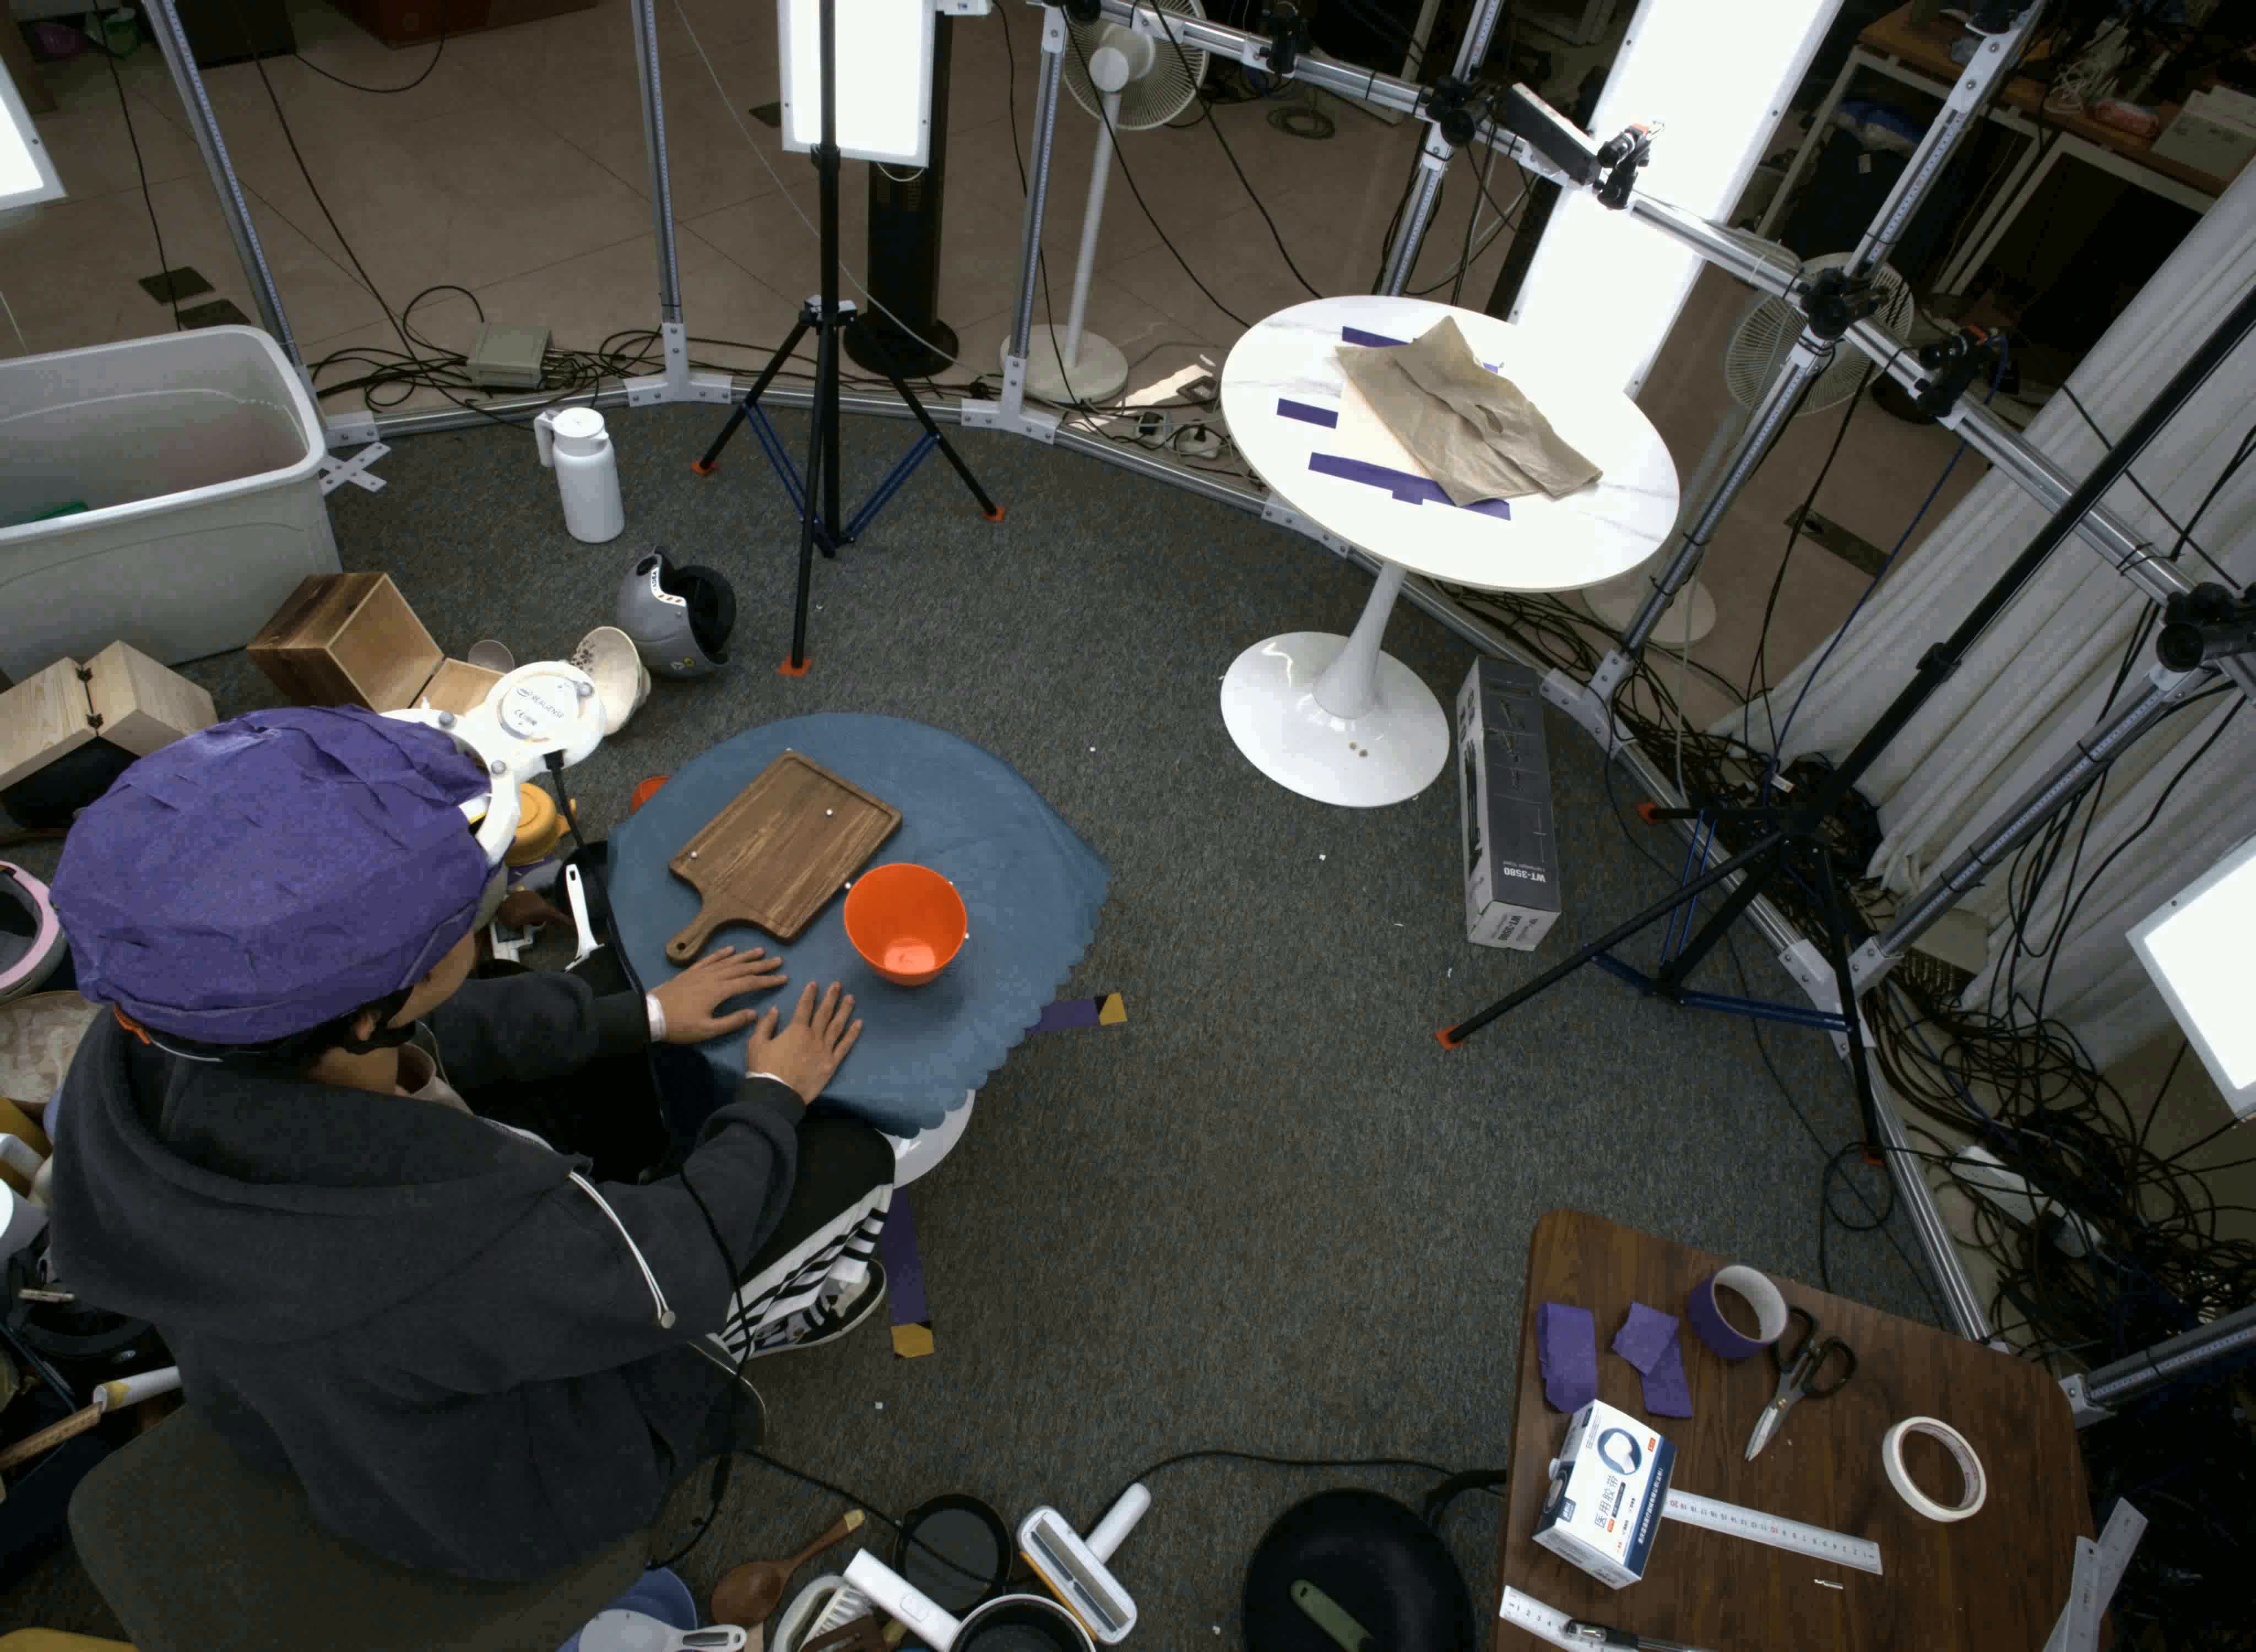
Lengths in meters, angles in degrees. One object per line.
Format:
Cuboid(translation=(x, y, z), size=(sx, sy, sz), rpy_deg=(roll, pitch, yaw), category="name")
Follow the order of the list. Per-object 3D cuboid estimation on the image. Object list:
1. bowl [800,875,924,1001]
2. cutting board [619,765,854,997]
Cuboid(translation=(-0.322, 0.147, 1.580), size=(0.147, 0.107, 0.145), rpy_deg=(7, 52, -8), category="bowl")
Cuboid(translation=(-0.522, 0.076, 1.634), size=(0.198, 0.023, 0.350), rpy_deg=(27, 52, 7), category="cutting board")
